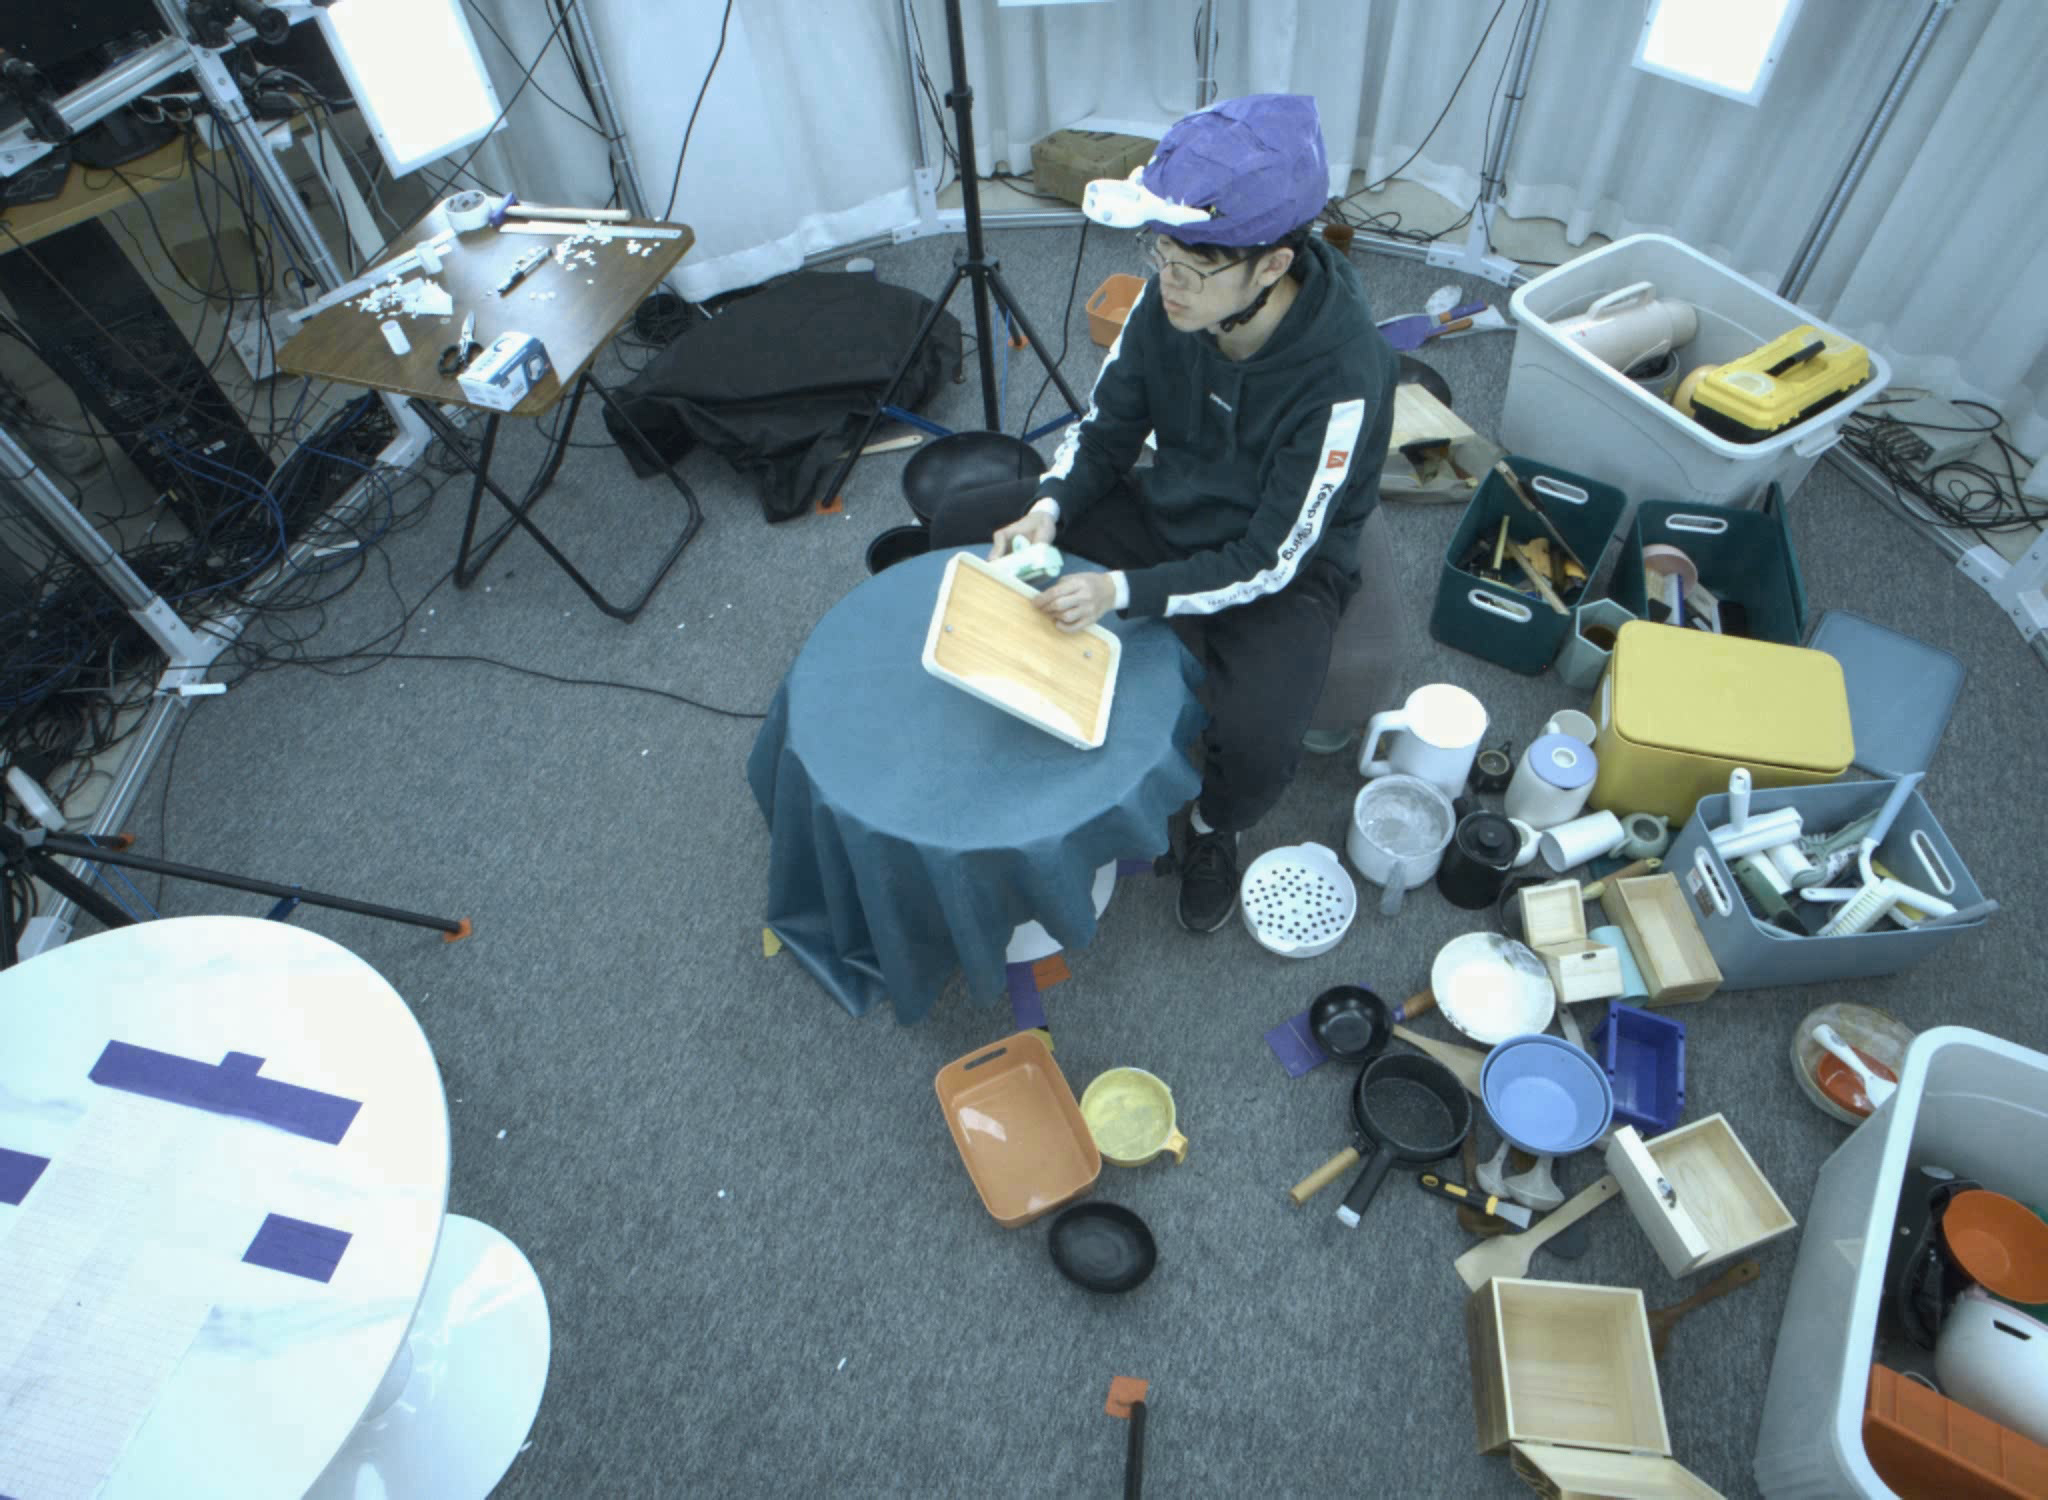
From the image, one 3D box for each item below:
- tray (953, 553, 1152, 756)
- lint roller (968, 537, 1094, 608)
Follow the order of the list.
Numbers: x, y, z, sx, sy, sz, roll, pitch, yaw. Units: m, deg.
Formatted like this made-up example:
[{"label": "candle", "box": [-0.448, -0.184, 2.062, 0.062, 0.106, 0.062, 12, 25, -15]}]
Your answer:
[{"label": "tray", "box": [0.046, -0.132, 1.730, 0.306, 0.027, 0.191, 27, 62, -28]}, {"label": "lint roller", "box": [0.023, -0.288, 1.835, 0.195, 0.083, 0.183, -14, 31, 34]}]
